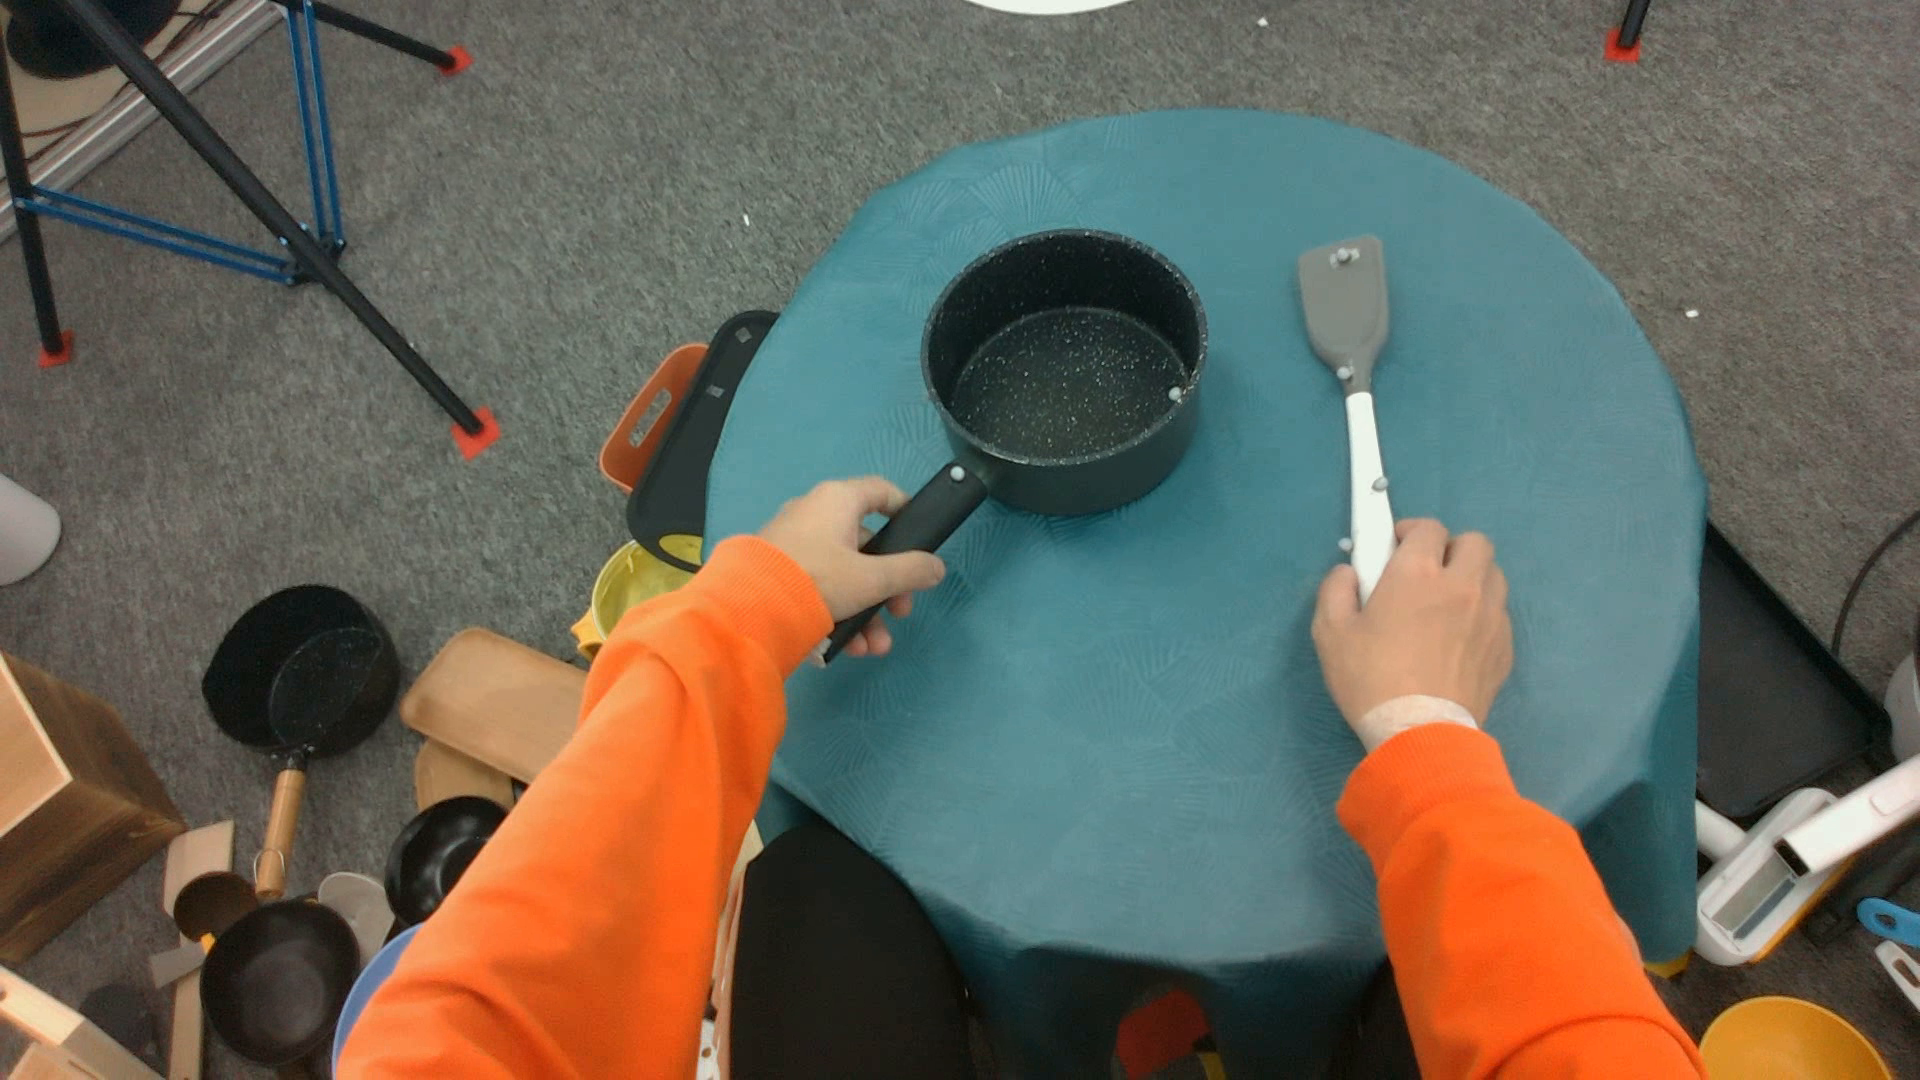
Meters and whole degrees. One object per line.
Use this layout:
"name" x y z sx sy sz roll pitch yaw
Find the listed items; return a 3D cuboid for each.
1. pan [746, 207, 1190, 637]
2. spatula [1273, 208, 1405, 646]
"pan" 0.004 -0.057 0.819 0.172 0.086 0.330 34 70 23
"spatula" 0.229 -0.075 0.823 0.058 0.032 0.288 -13 60 25
